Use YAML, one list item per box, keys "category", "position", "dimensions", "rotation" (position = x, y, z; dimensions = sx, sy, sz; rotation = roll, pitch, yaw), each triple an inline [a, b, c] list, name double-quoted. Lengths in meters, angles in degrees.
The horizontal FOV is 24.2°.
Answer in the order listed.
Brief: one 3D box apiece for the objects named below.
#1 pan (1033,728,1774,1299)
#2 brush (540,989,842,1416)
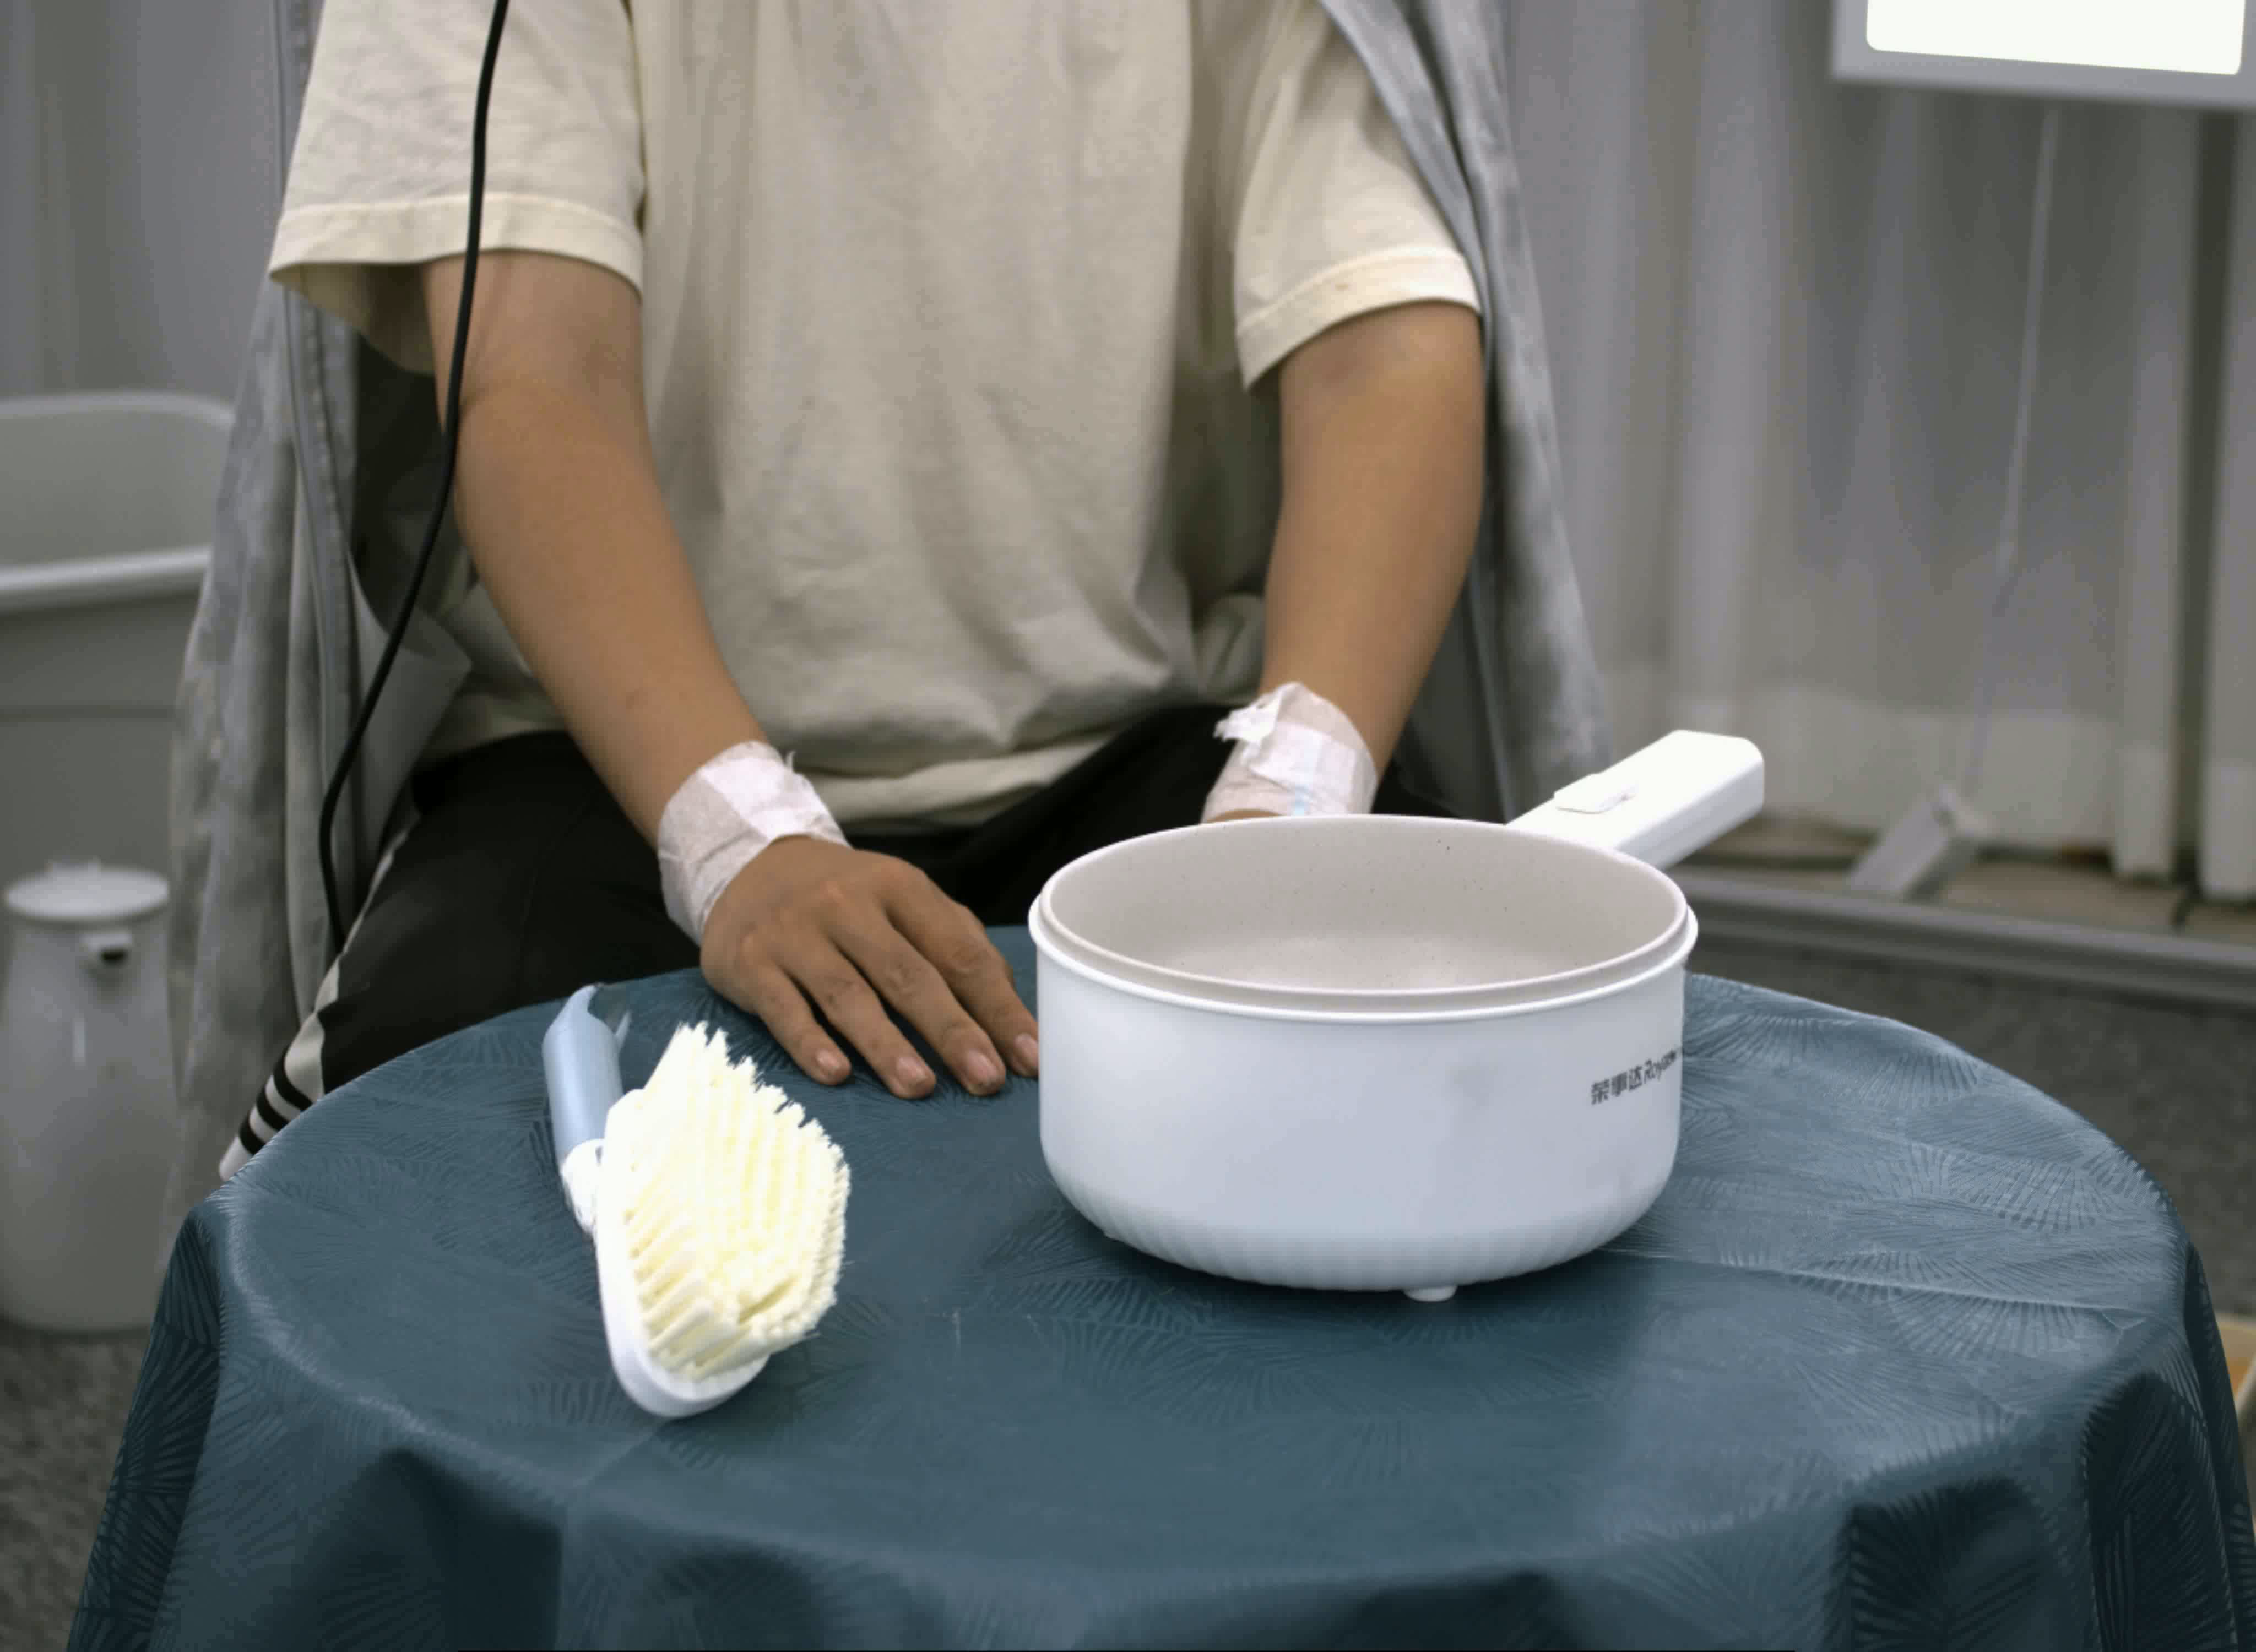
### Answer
- category: "pan"
  position: [0.110, 0.052, 1.657]
  dimensions: [0.199, 0.103, 0.356]
  rotation: [10, 18, 29]
- category: "brush"
  position: [-0.133, 0.082, 1.573]
  dimensions: [0.084, 0.084, 0.323]
  rotation: [-9, 18, -6]
